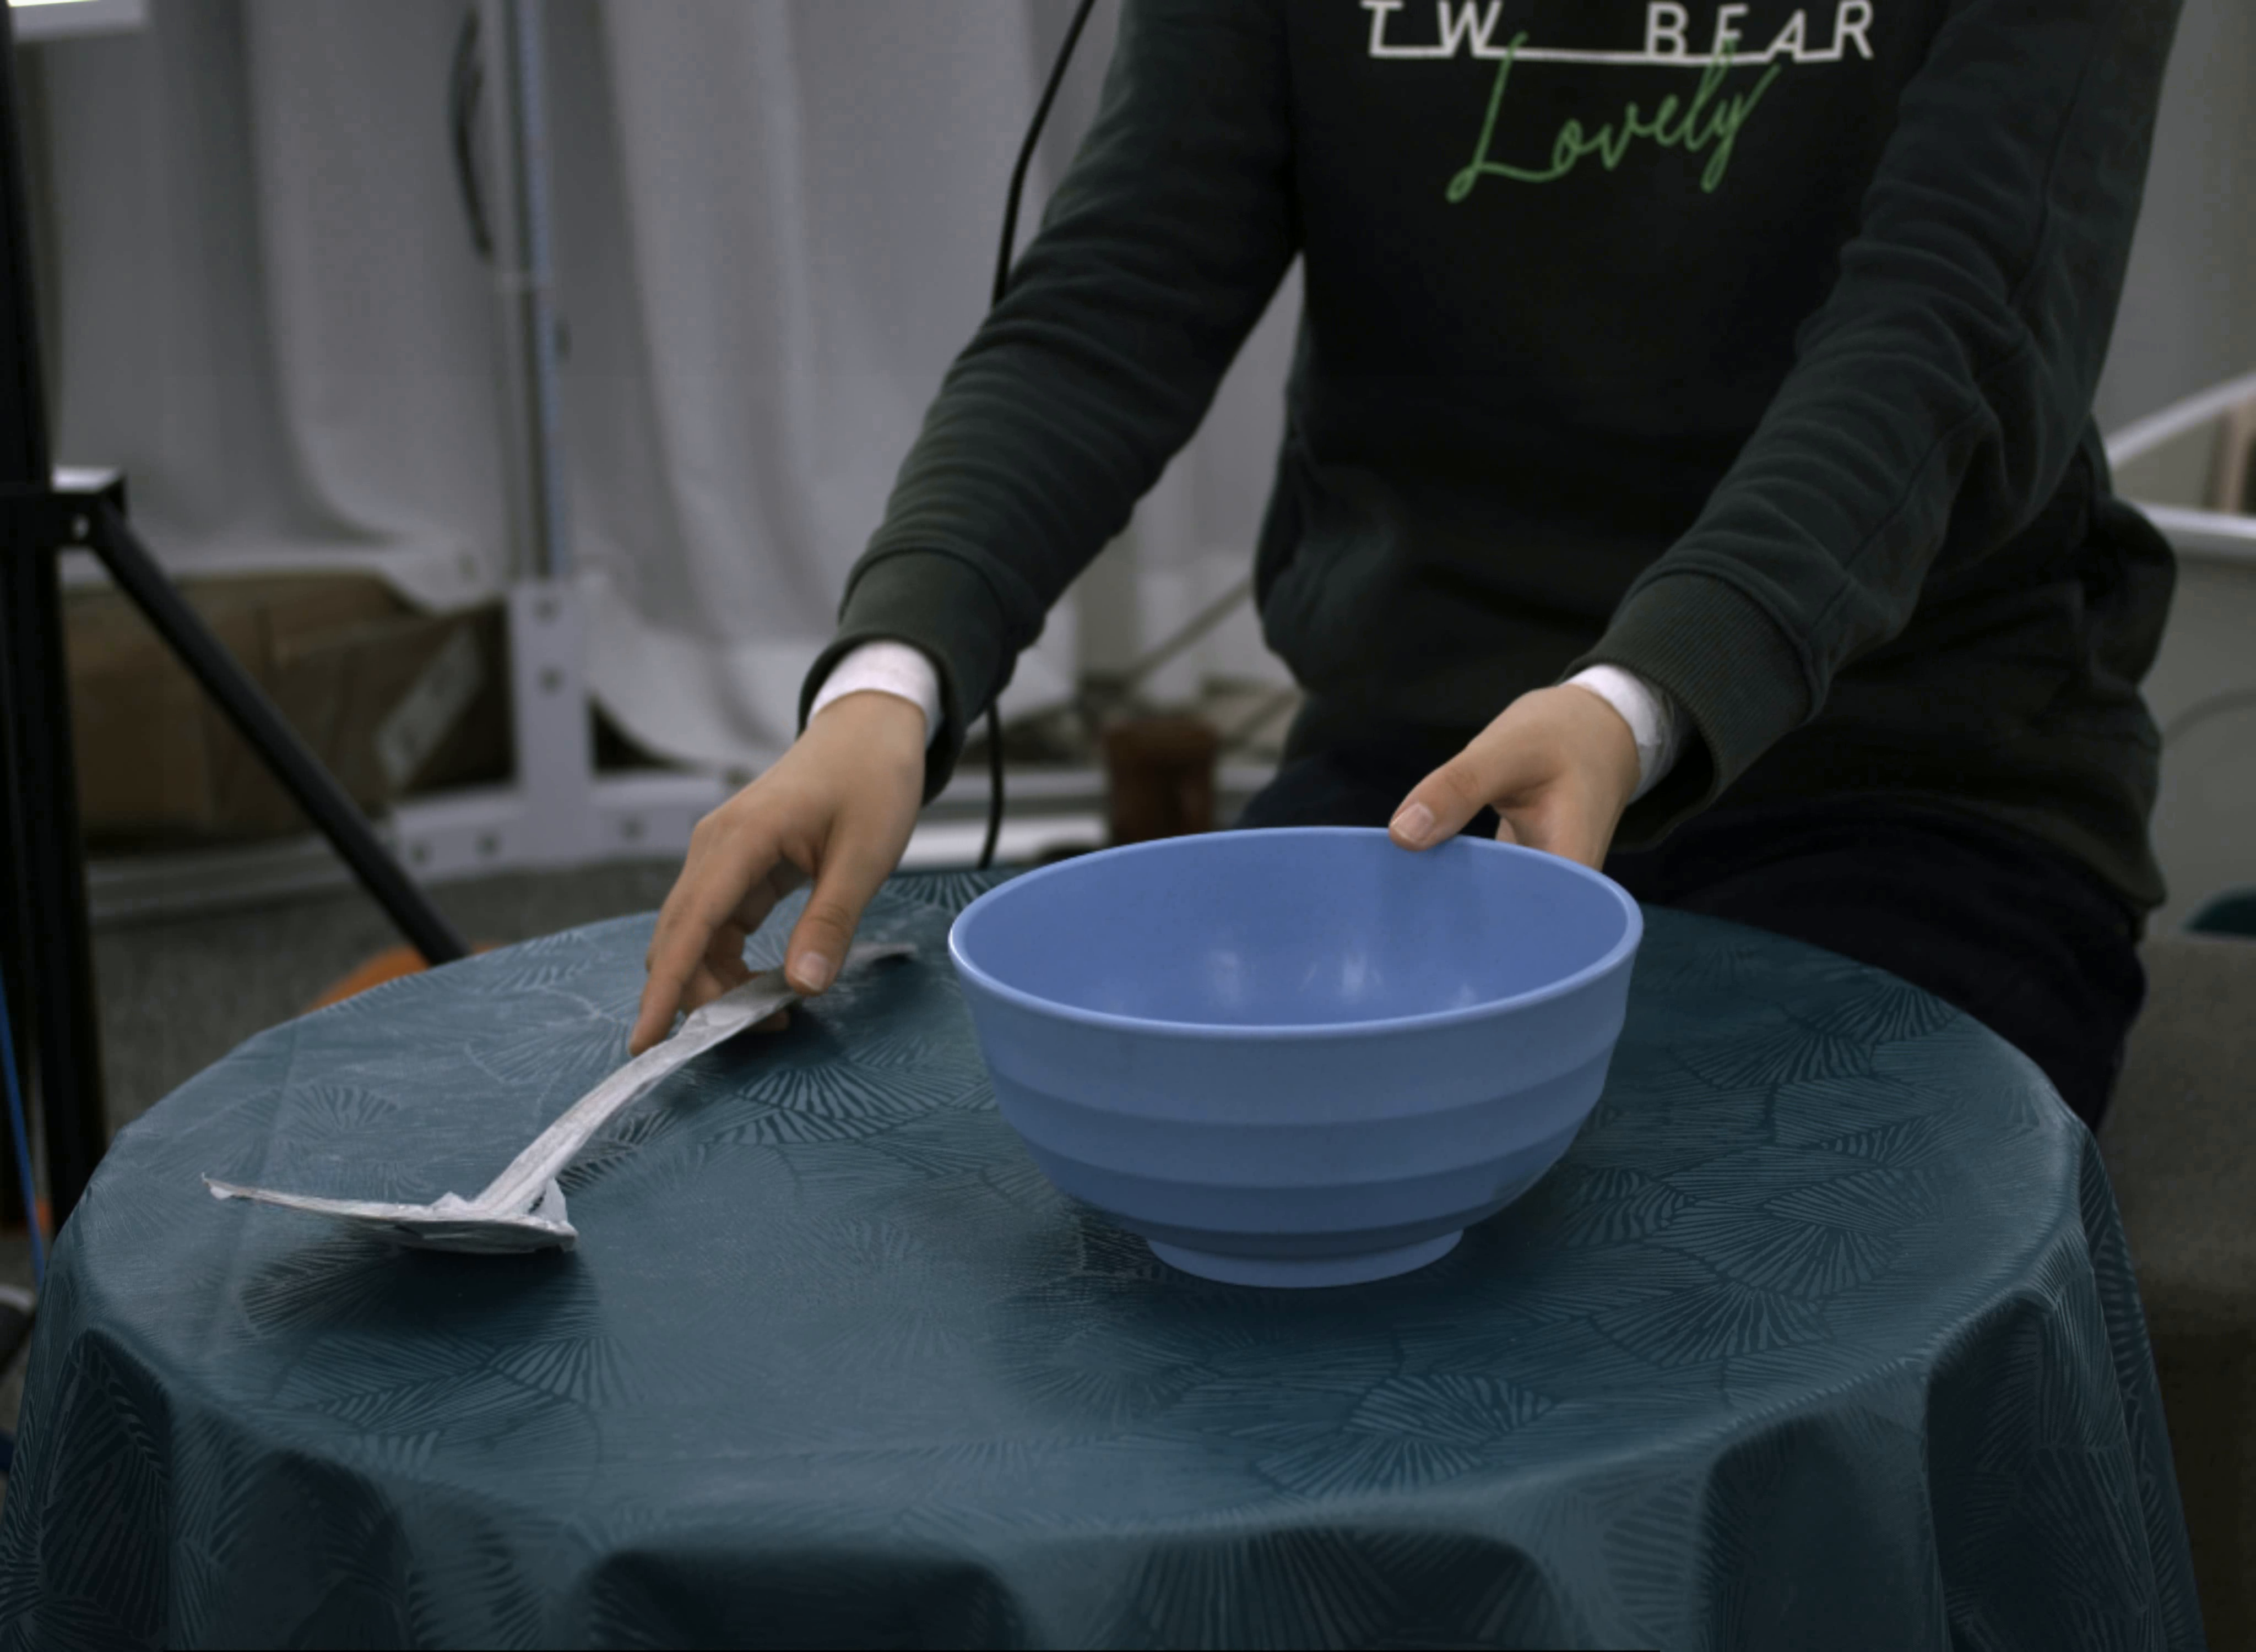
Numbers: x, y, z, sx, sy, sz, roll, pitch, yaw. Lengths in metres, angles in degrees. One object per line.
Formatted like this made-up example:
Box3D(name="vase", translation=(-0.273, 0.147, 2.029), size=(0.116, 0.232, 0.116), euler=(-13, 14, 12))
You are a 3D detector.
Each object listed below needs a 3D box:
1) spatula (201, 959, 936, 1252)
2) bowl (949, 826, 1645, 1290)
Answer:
Box3D(name="spatula", translation=(-0.149, 0.075, 1.628), size=(0.100, 0.045, 0.359), euler=(3, 17, 25))
Box3D(name="bowl", translation=(0.050, 0.071, 1.505), size=(0.195, 0.095, 0.197), euler=(-4, 16, 0))
